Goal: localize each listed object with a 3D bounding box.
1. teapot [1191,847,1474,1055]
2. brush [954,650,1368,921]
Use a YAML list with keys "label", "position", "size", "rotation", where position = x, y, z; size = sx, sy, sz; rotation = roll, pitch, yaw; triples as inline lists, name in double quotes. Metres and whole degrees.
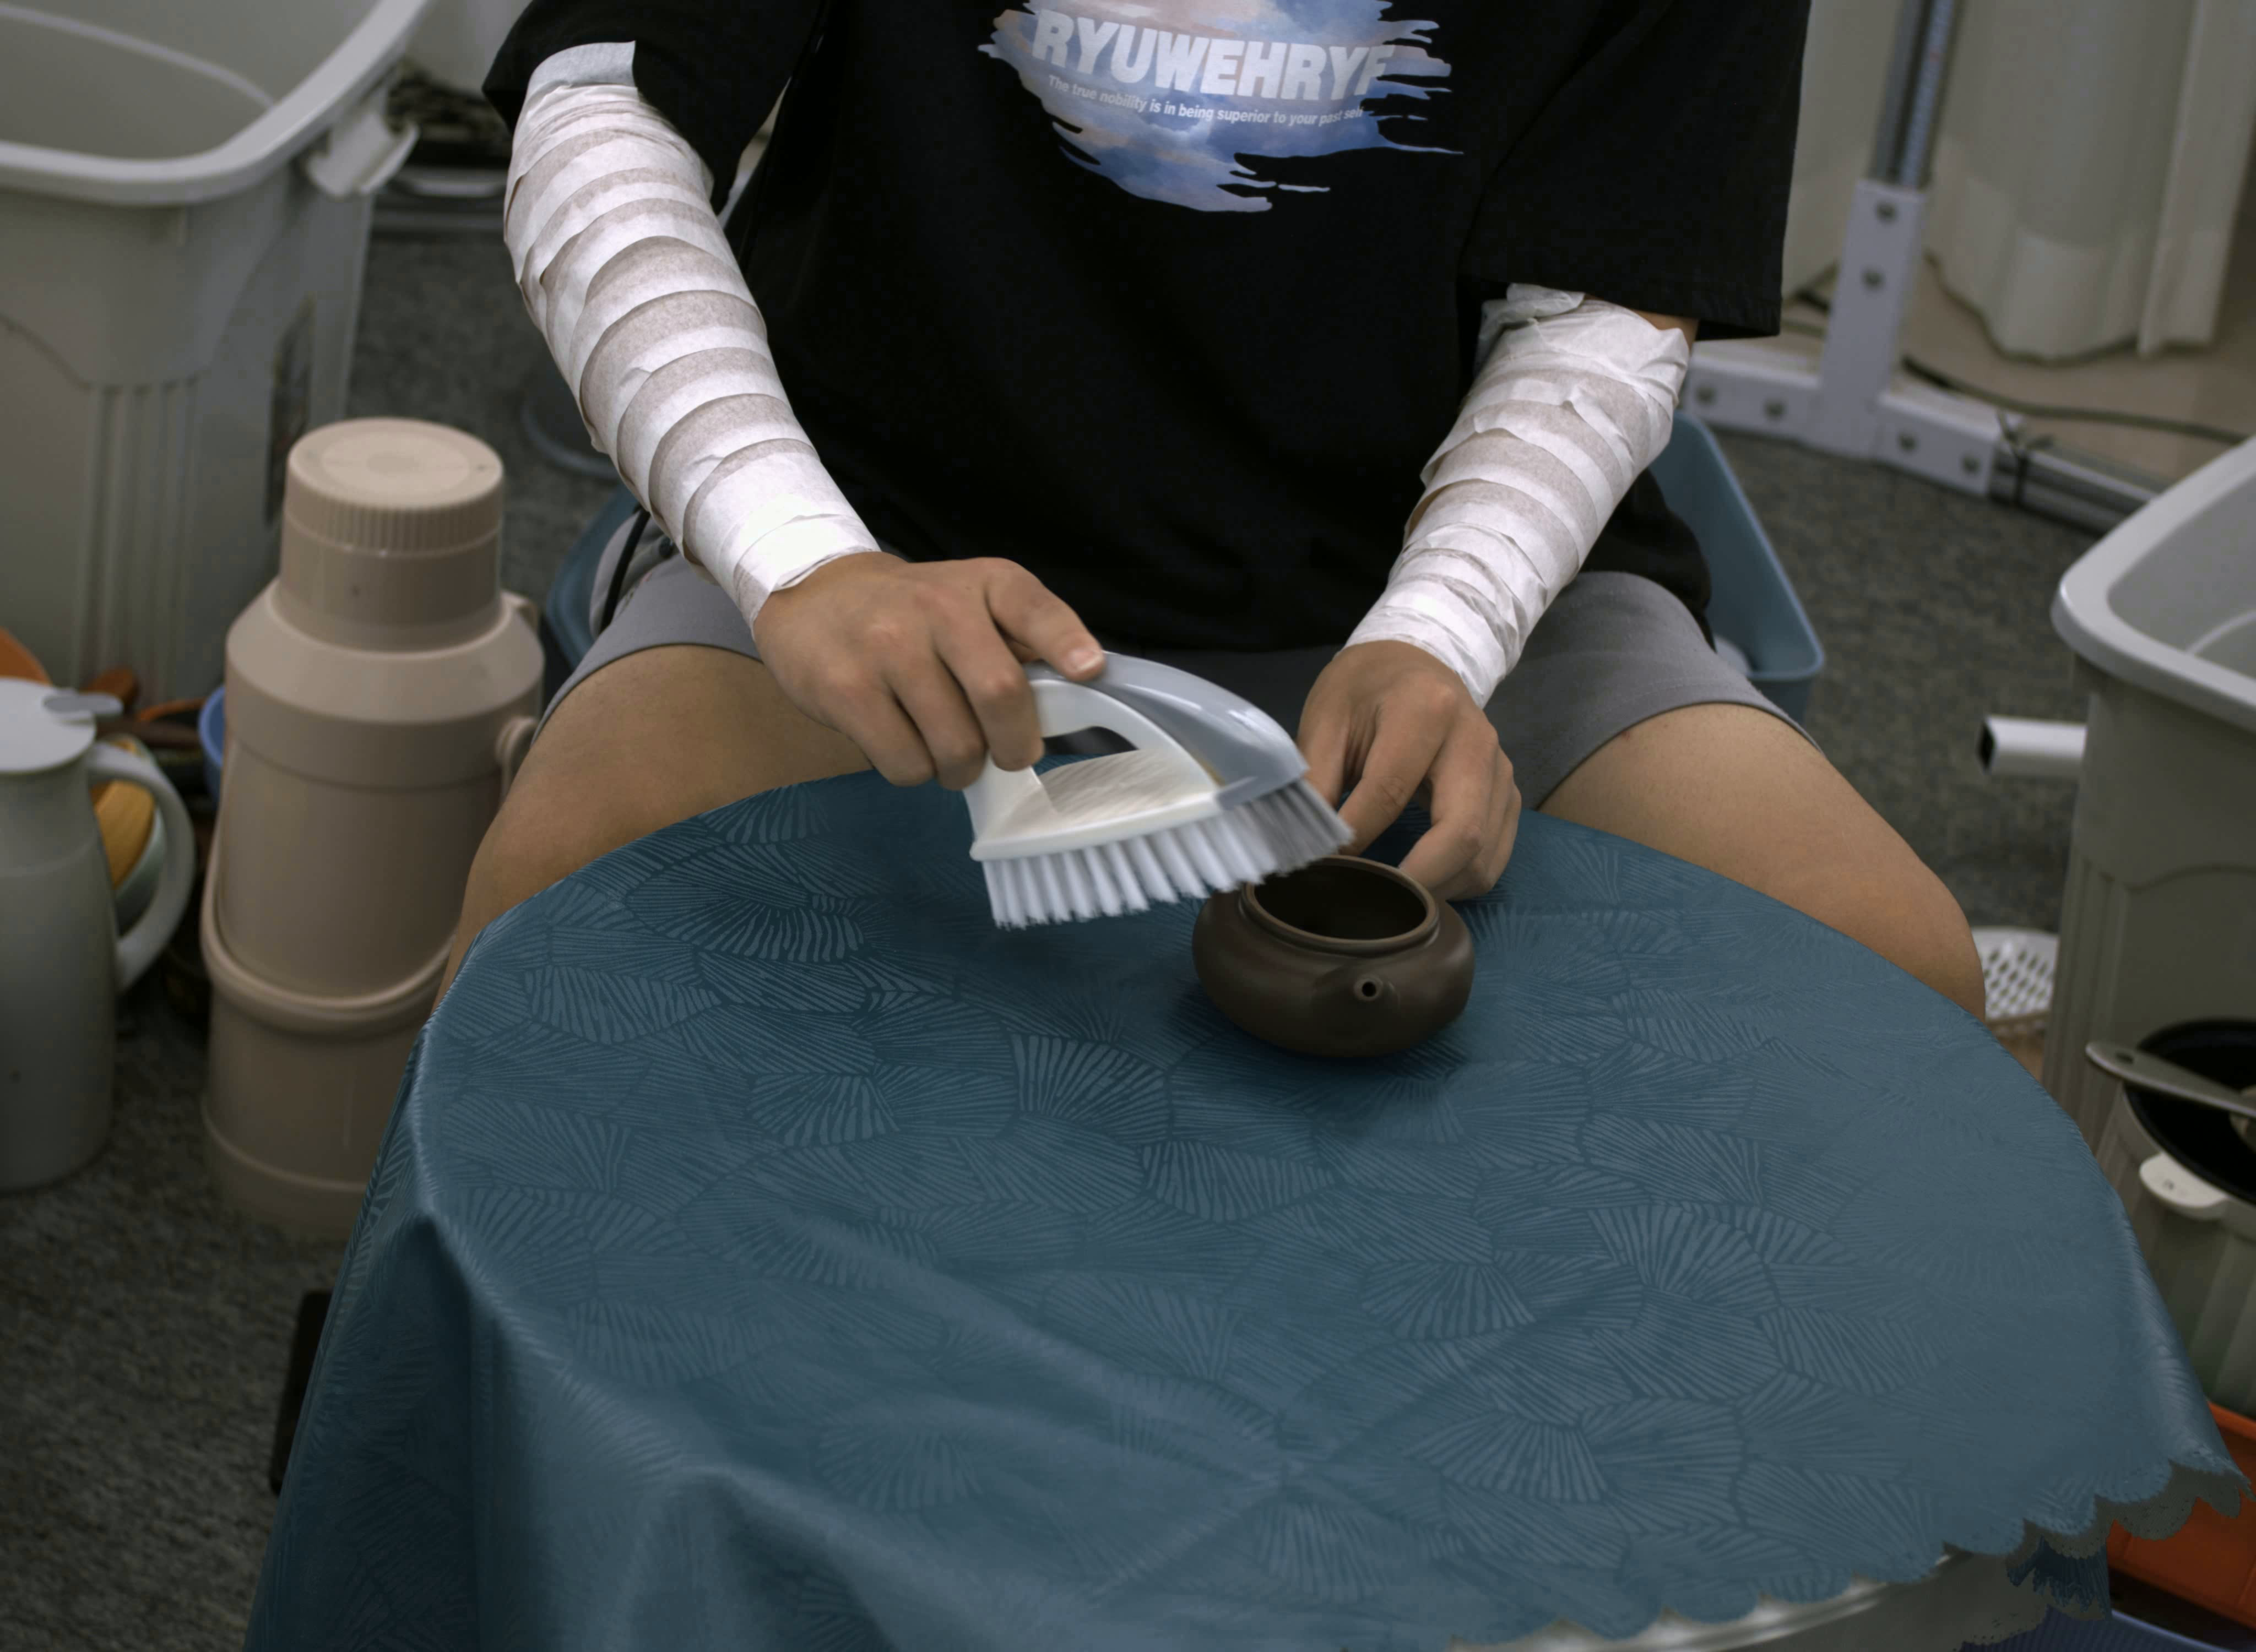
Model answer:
- label: "teapot"
  position: [0.073, 0.042, 1.921]
  size: [0.102, 0.053, 0.155]
  rotation: [2, 27, -13]
- label: "brush"
  position: [0.005, -0.022, 1.879]
  size: [0.176, 0.094, 0.061]
  rotation: [-5, 32, 49]
